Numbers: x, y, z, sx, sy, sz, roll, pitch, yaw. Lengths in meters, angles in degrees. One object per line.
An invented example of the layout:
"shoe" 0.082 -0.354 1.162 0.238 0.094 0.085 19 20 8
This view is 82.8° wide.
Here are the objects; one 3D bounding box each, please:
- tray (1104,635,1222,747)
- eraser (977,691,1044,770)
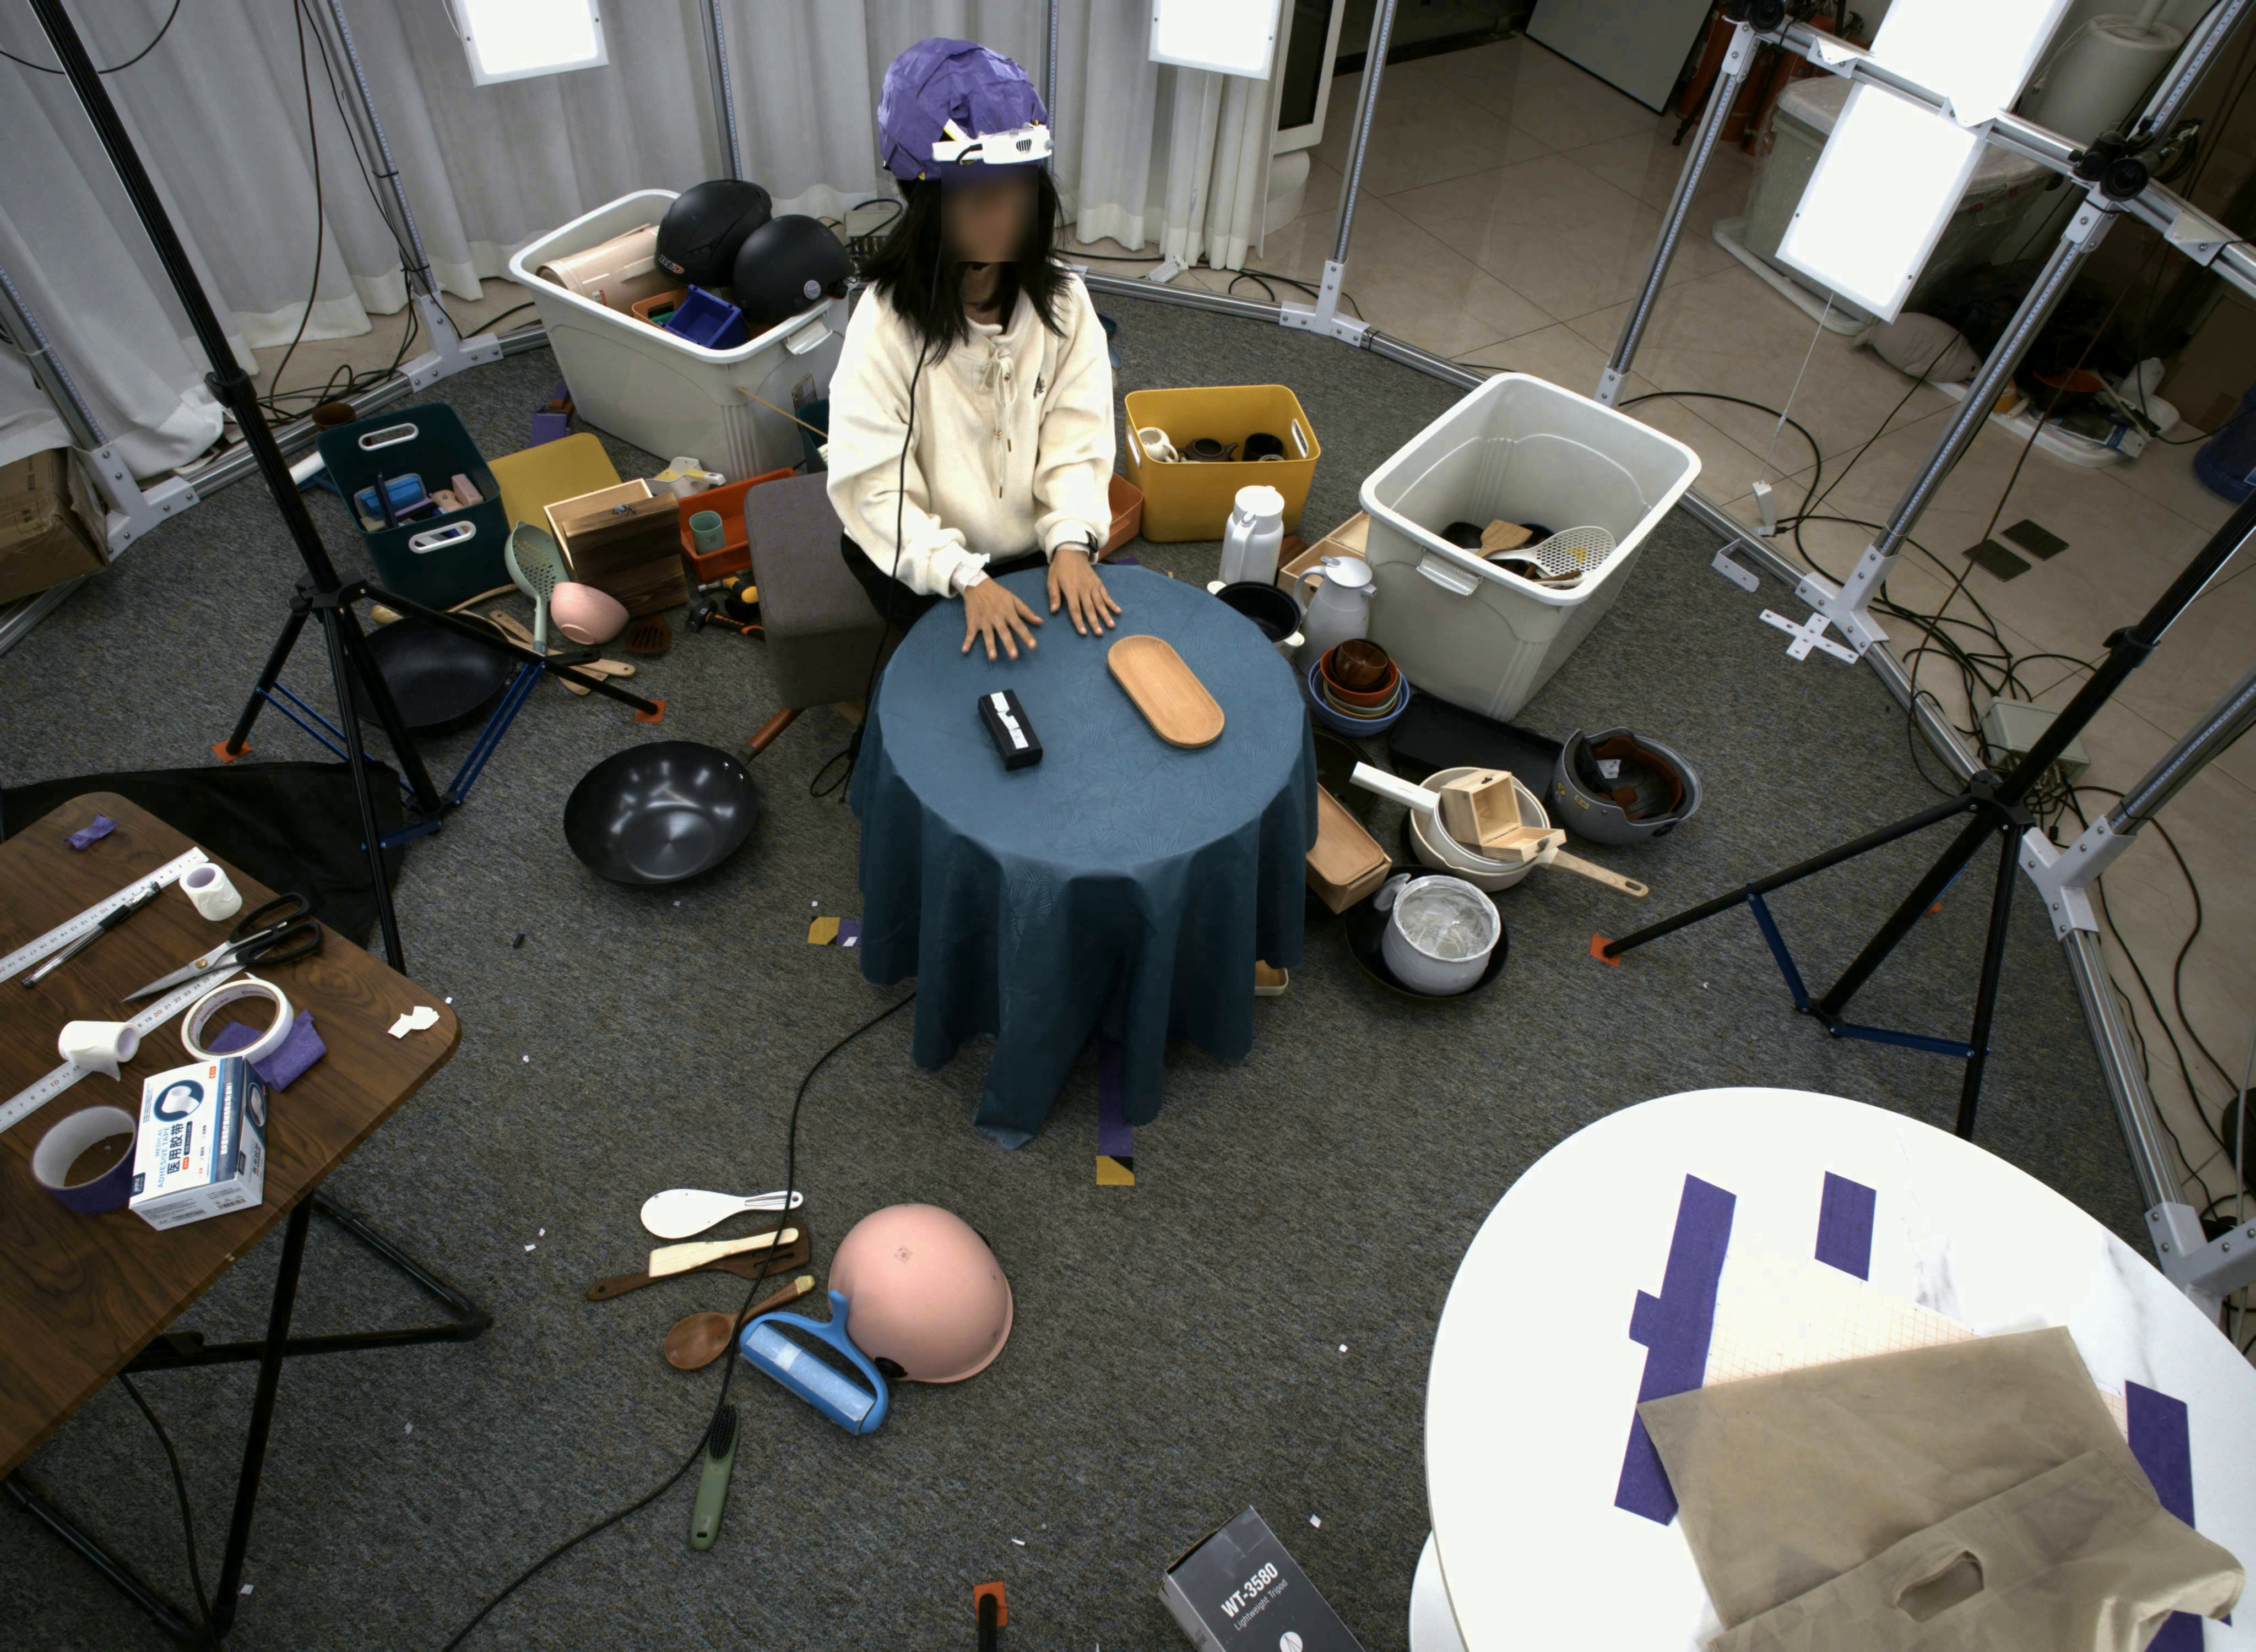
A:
"tray" 0.049 -0.195 1.832 0.102 0.020 0.236 -22 52 -21
"eraser" -0.161 -0.132 1.754 0.053 0.030 0.128 -12 52 -21
